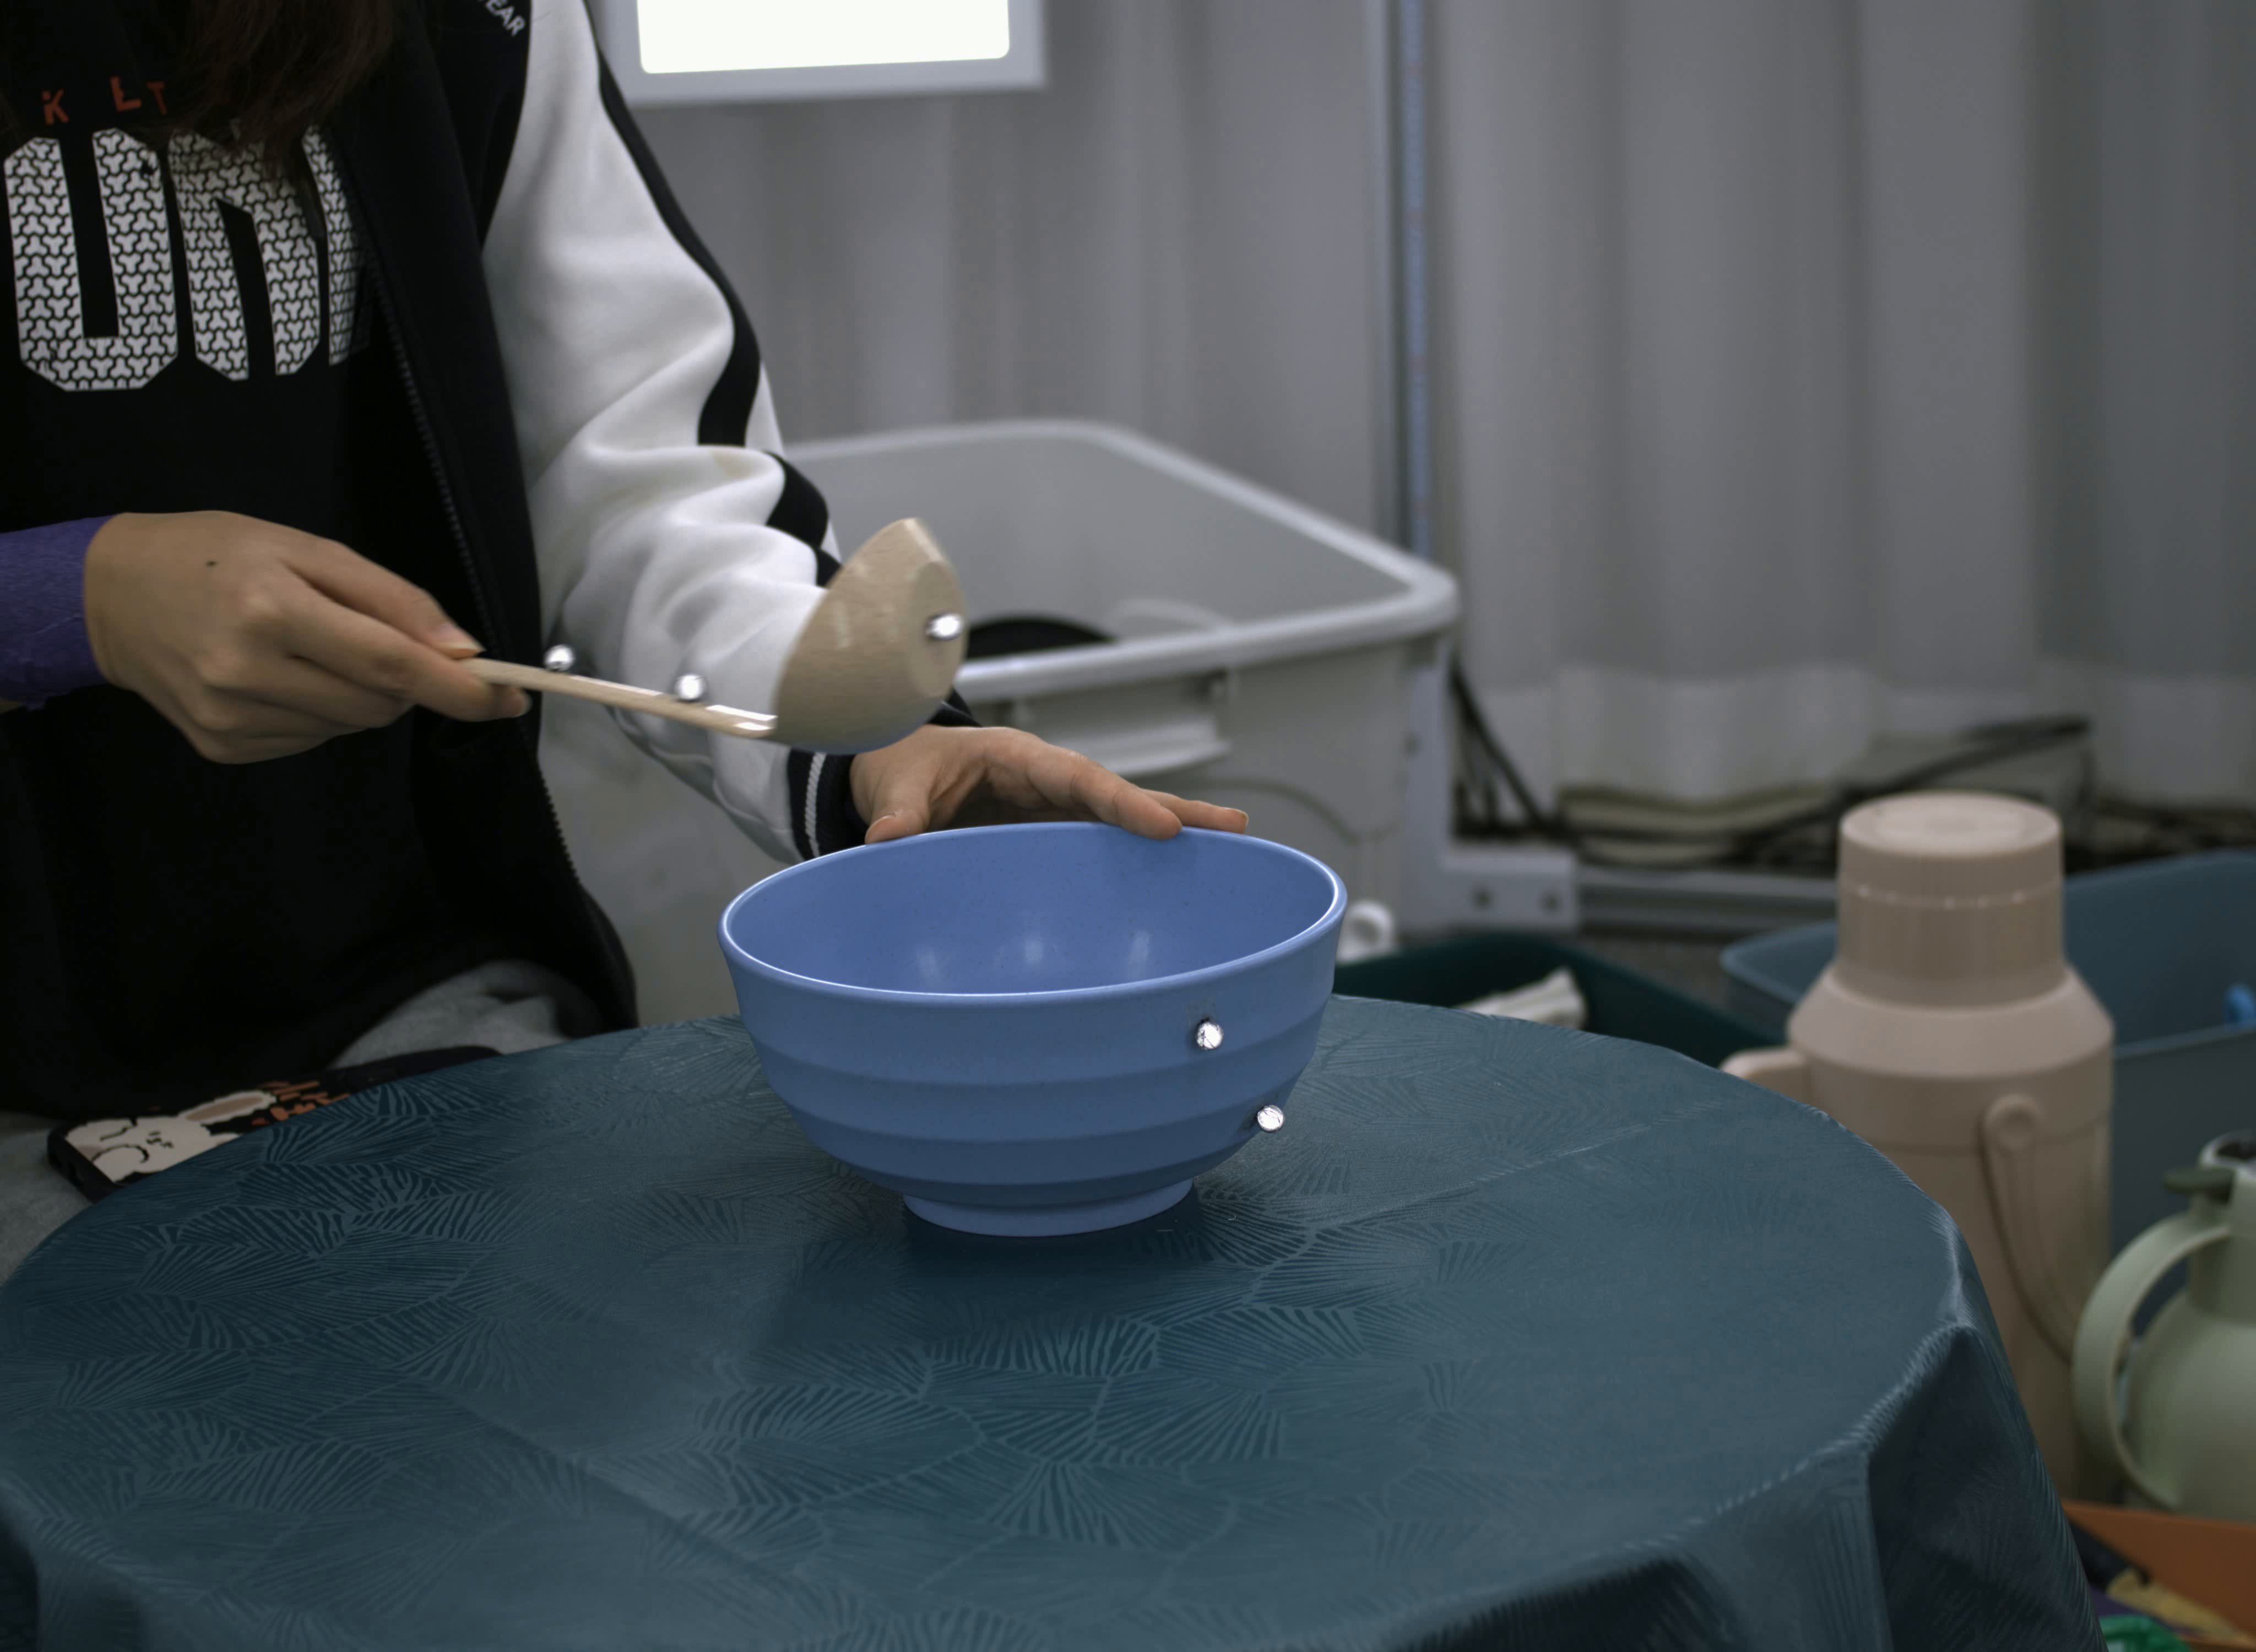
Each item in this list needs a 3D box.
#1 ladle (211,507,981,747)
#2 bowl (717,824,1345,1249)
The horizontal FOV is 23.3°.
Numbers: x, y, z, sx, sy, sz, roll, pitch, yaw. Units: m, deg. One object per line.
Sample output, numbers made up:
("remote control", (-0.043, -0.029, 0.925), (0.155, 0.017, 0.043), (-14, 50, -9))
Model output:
("ladle", (-0.166, -0.069, 1.652), (0.255, 0.072, 0.072), (7, 12, 22))
("bowl", (-0.027, 0.072, 1.709), (0.196, 0.095, 0.198), (-4, 15, 1))
